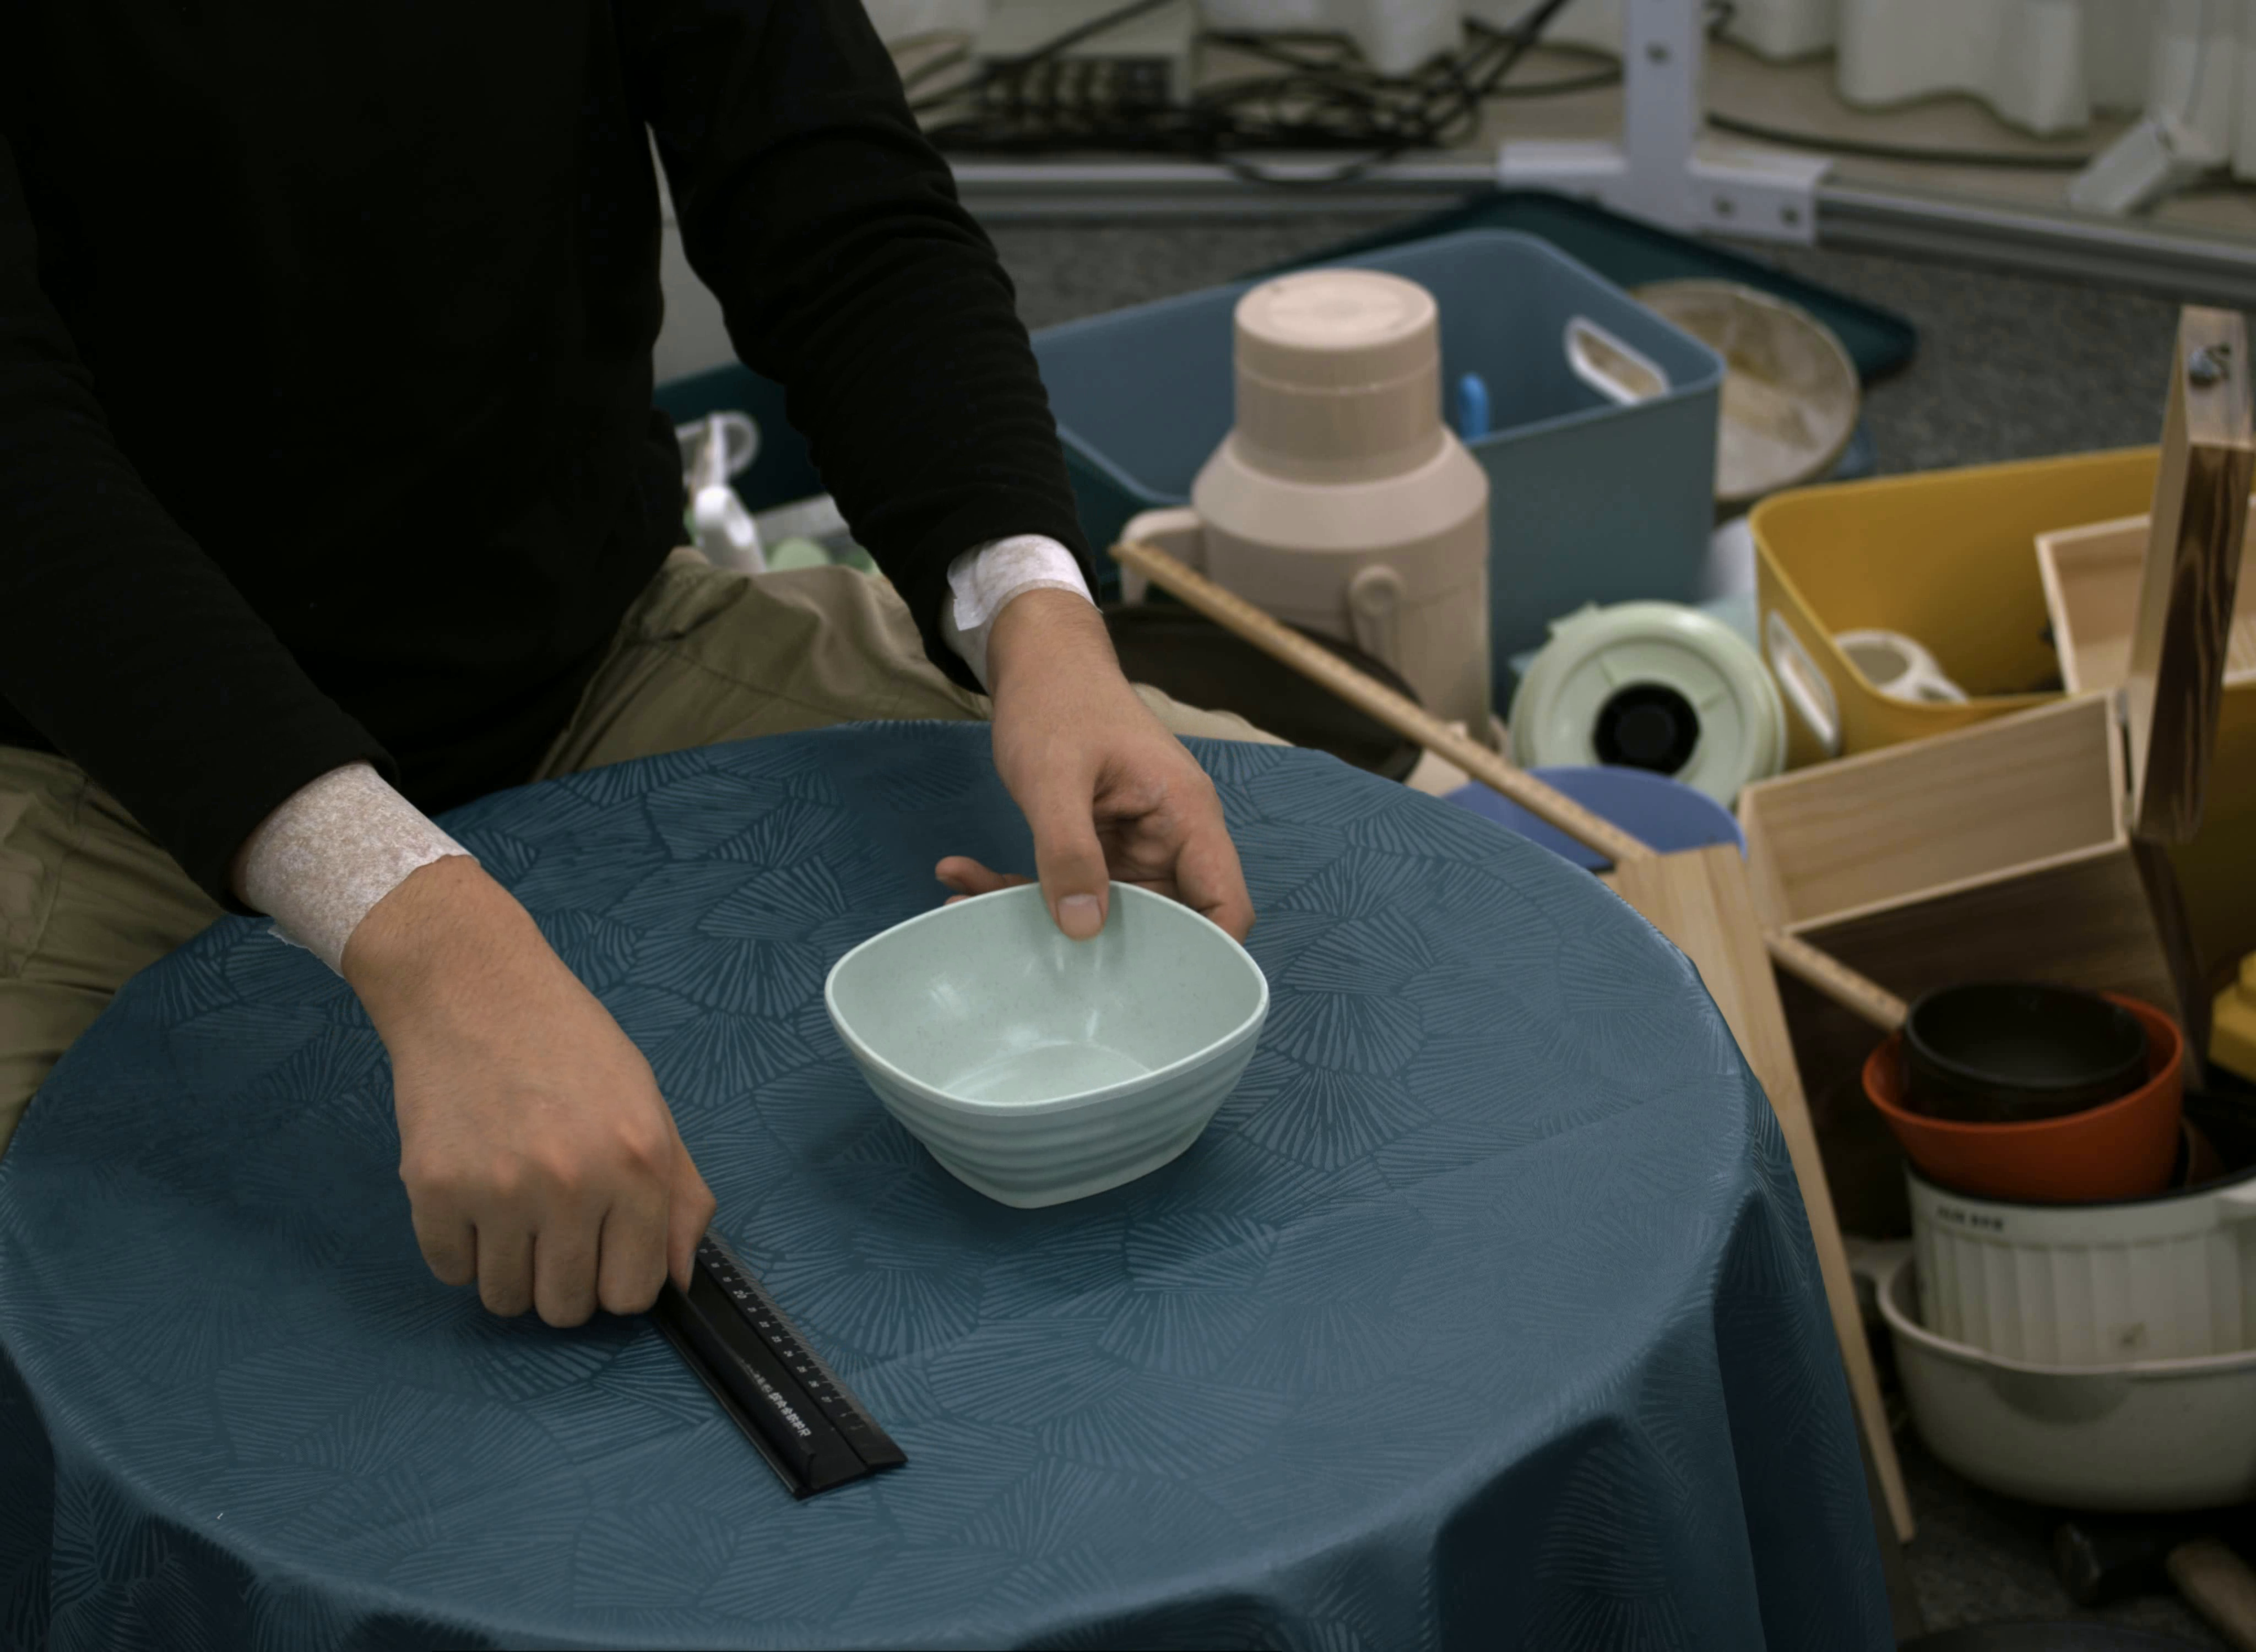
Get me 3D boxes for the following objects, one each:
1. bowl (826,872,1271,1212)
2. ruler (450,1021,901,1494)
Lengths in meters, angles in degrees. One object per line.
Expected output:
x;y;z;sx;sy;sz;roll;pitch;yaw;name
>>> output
-0.026;0.079;1.886;0.151;0.058;0.154;-2;30;1;bowl
-0.152;0.132;1.838;0.039;0.017;0.314;-12;29;-23;ruler
